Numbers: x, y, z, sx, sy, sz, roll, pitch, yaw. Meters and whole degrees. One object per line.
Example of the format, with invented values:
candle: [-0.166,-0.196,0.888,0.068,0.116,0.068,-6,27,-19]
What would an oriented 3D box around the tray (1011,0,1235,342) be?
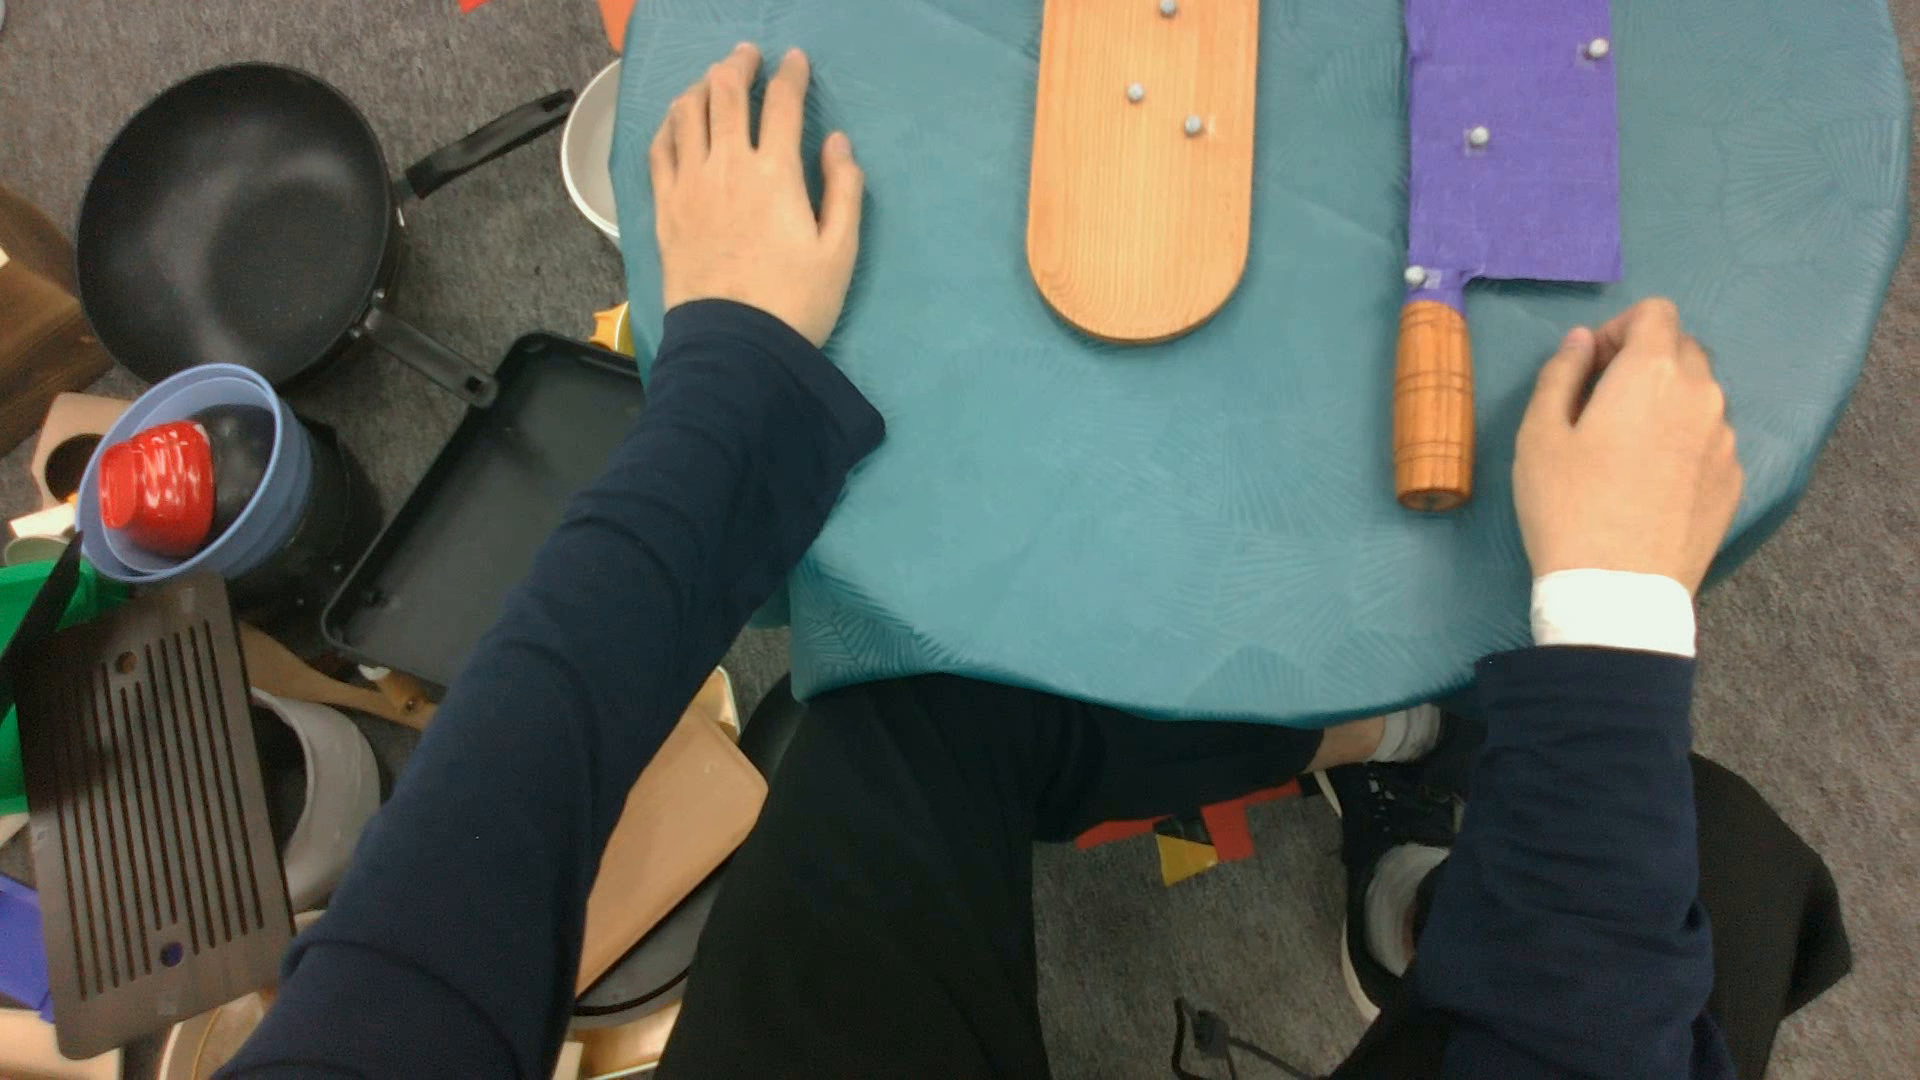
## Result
tray: [0.077,-0.201,0.646,0.101,0.020,0.231,1,77,7]

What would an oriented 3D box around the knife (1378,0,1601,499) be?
knife: [0.235,-0.171,0.617,0.104,0.032,0.316,2,75,7]
